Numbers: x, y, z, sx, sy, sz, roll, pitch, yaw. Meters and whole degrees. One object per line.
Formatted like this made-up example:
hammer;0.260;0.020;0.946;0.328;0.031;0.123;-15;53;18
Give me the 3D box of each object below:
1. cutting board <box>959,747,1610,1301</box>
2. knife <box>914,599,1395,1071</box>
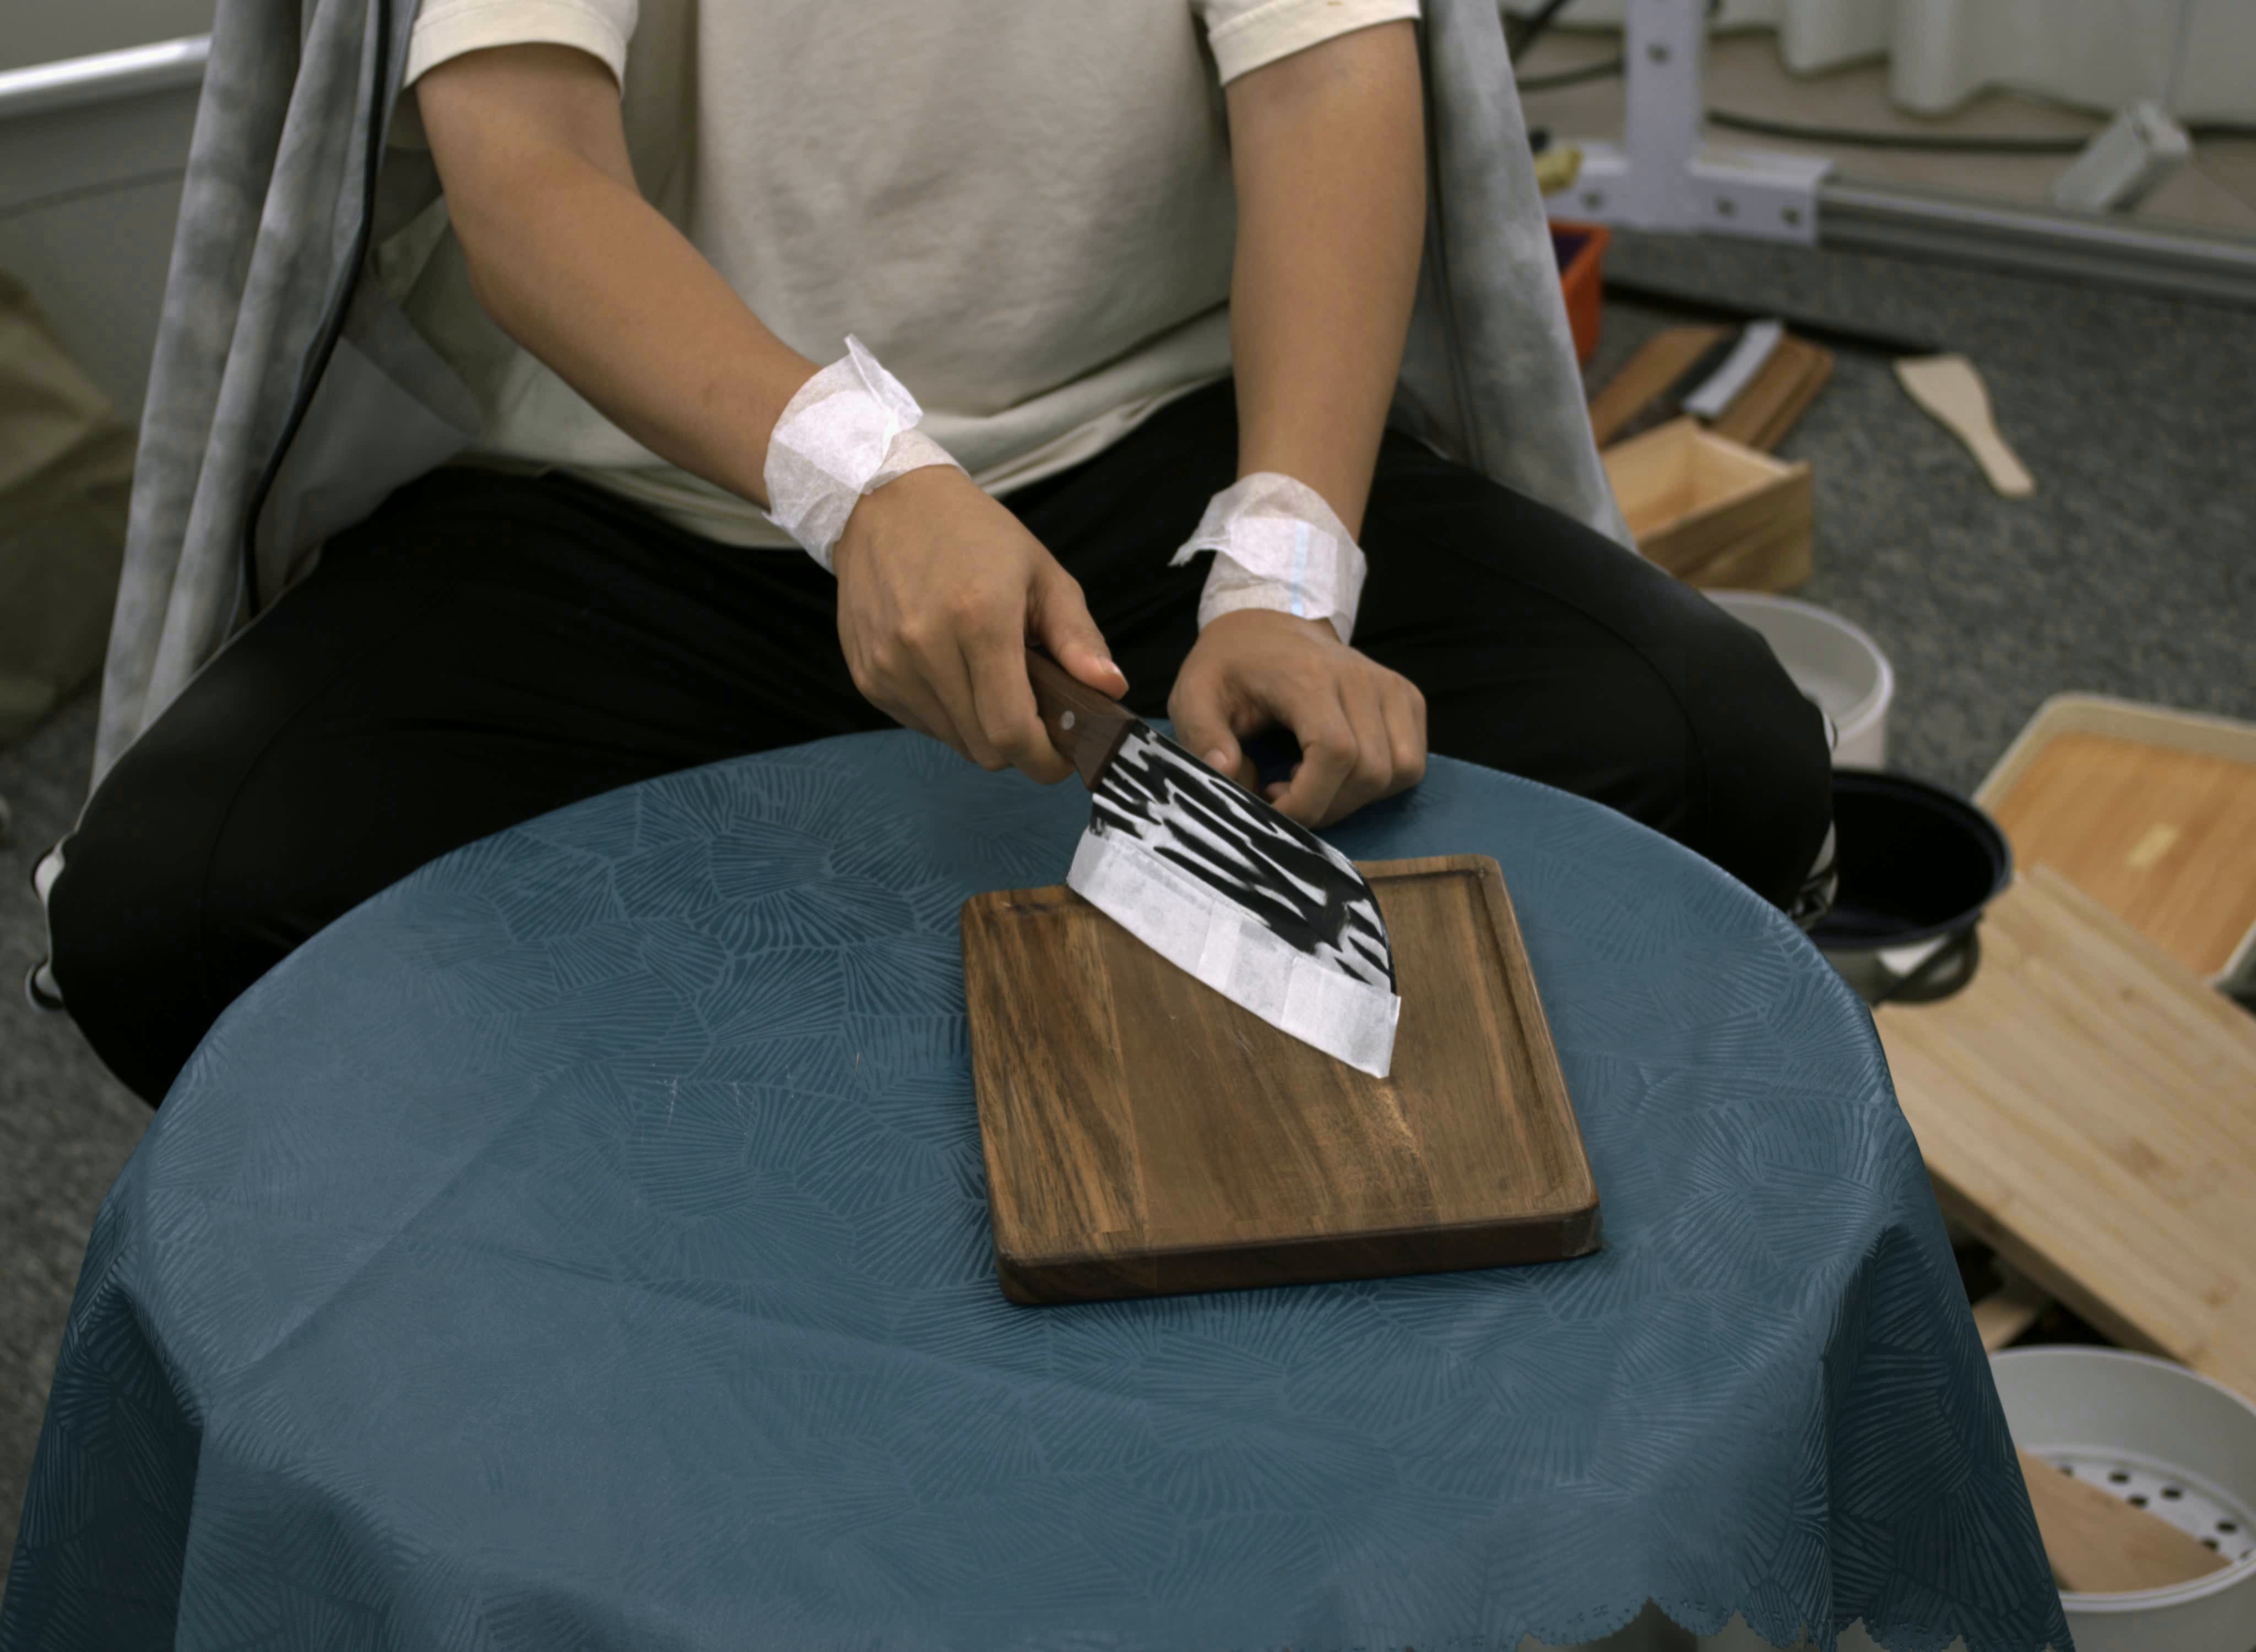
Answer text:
cutting board;0.044;0.058;1.956;0.200;0.023;0.357;-4;27;-3
knife;0.006;0.001;1.985;0.024;0.068;0.300;14;15;-44
